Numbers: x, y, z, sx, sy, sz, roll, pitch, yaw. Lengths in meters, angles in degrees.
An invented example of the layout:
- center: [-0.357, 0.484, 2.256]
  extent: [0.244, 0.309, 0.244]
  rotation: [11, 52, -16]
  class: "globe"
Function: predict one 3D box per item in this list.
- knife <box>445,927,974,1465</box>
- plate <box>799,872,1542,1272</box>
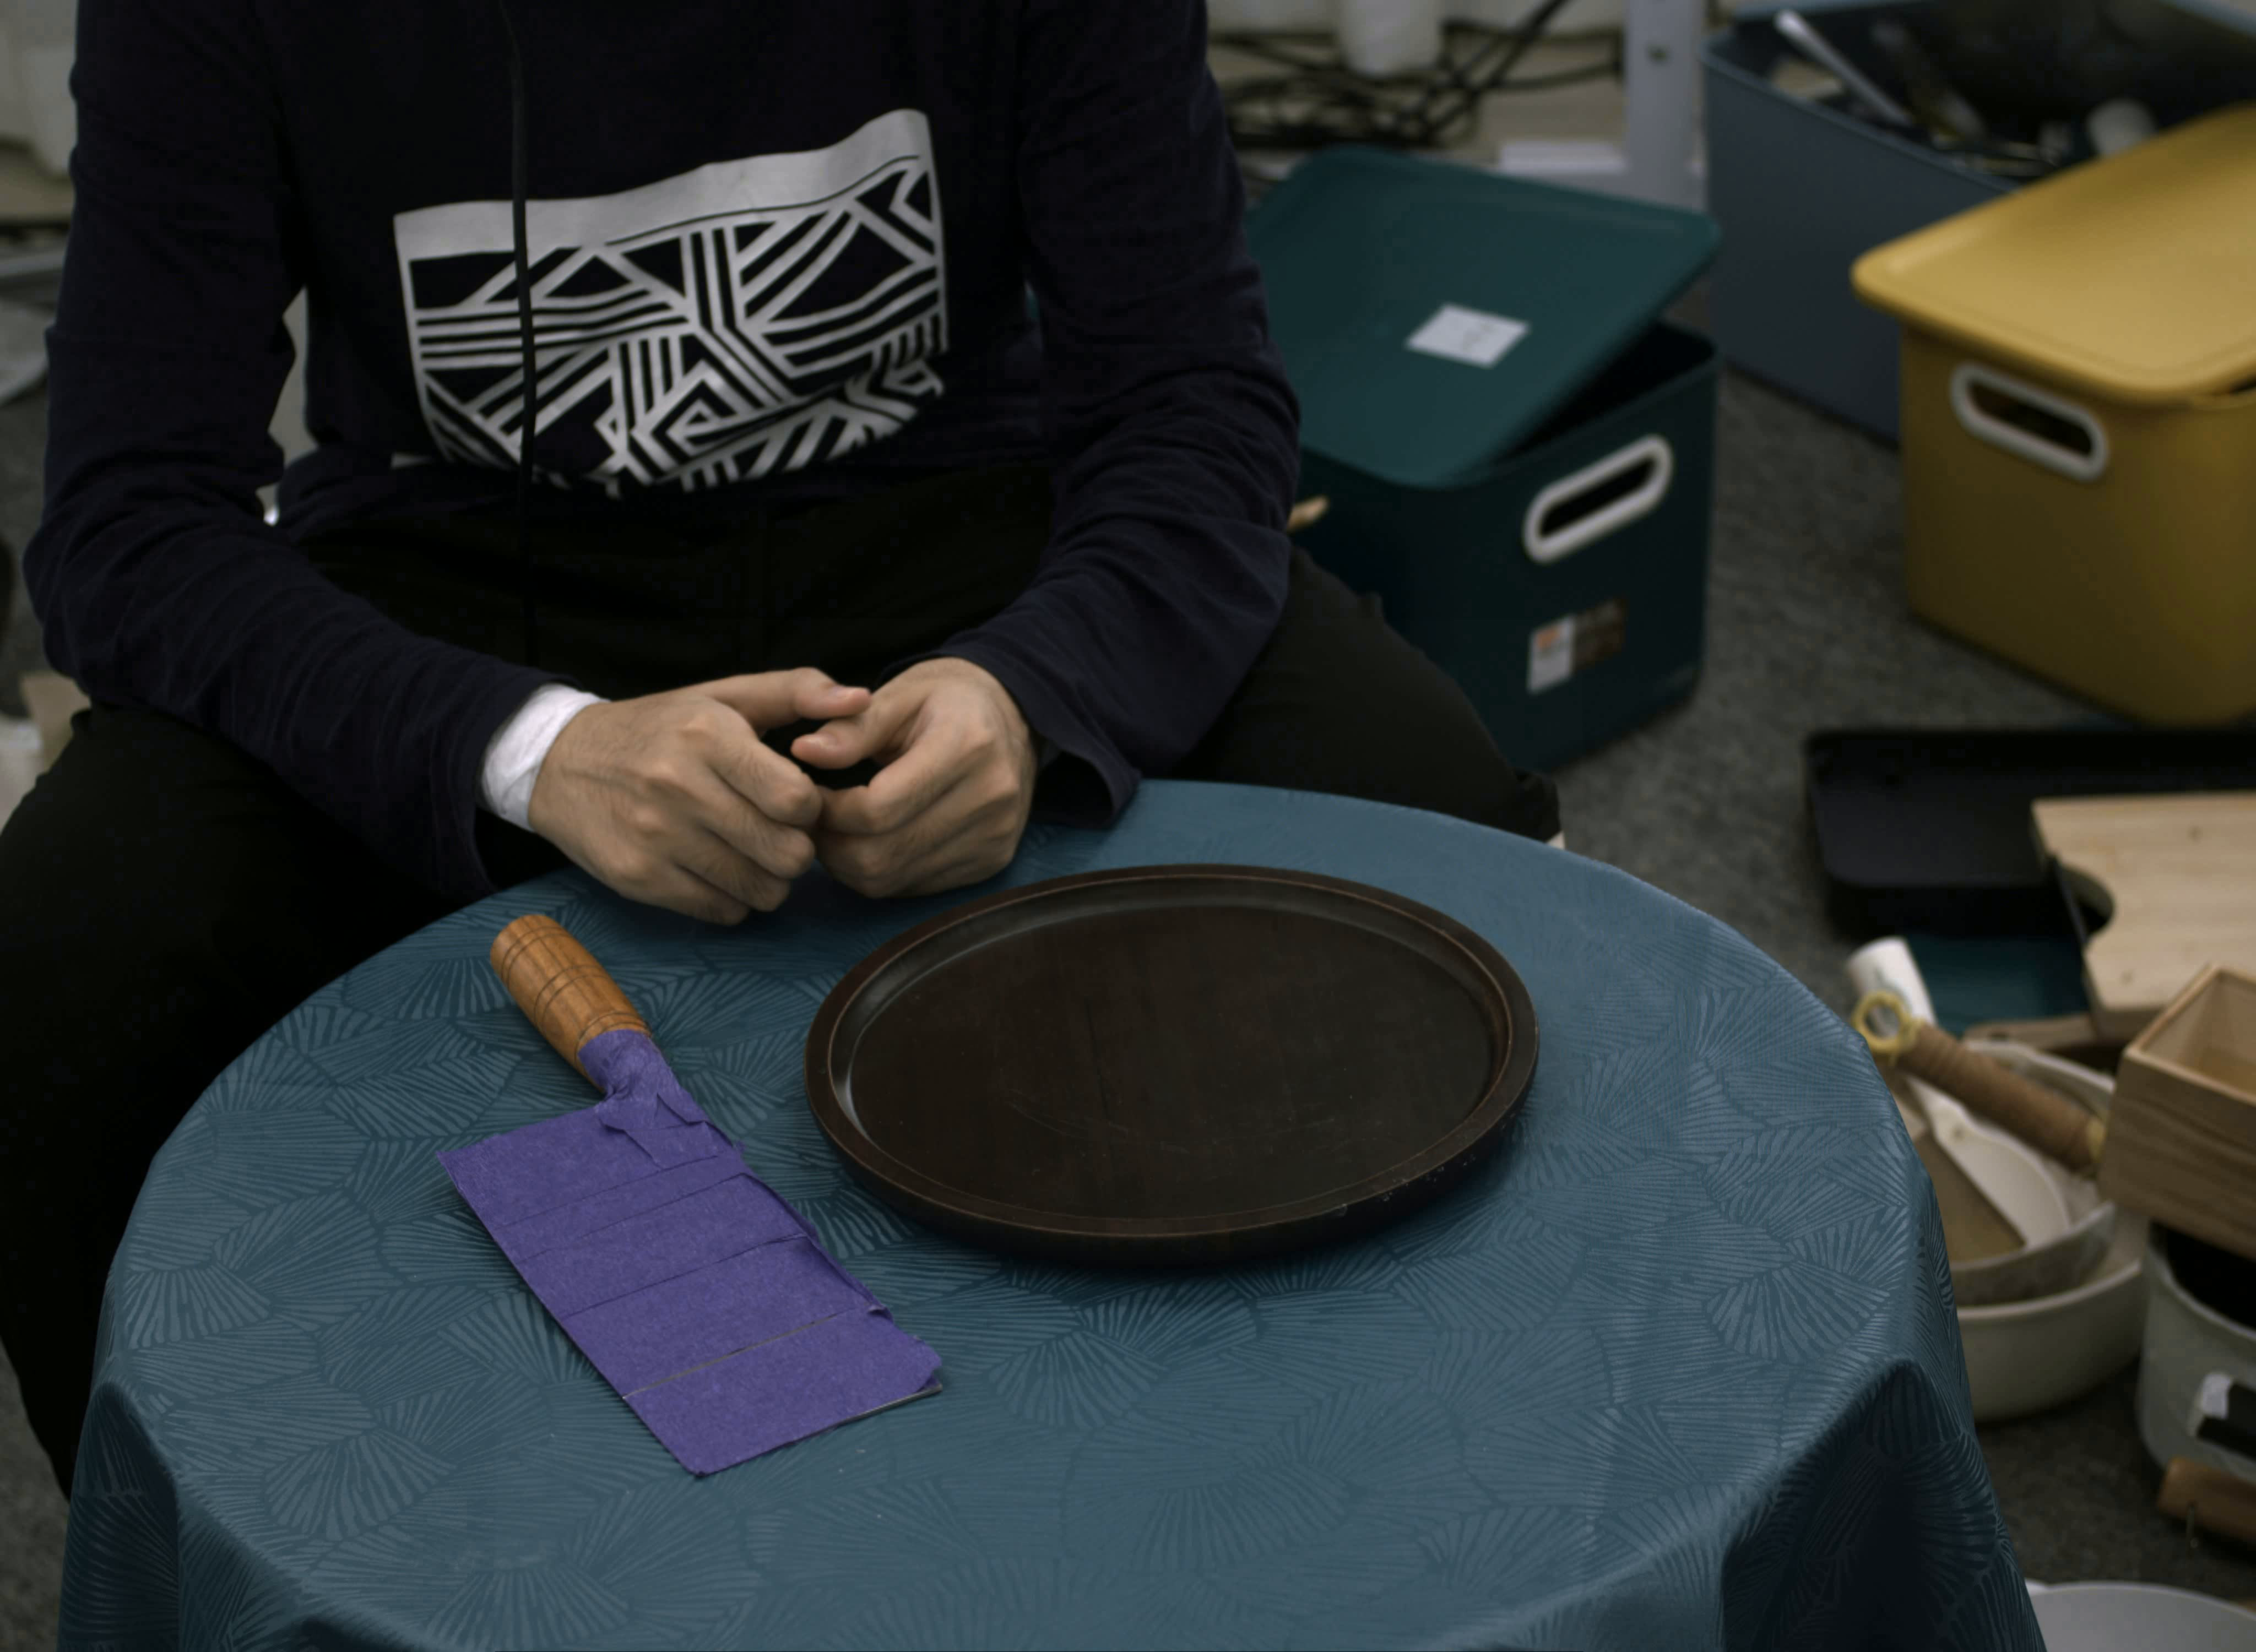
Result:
- center: [-0.167, 0.118, 1.855]
  extent: [0.104, 0.032, 0.317]
  rotation: [-16, 31, -25]
  class: "knife"
- center: [0.015, 0.081, 1.912]
  extent: [0.253, 0.029, 0.259]
  rotation: [-2, 28, 1]
  class: "plate"
